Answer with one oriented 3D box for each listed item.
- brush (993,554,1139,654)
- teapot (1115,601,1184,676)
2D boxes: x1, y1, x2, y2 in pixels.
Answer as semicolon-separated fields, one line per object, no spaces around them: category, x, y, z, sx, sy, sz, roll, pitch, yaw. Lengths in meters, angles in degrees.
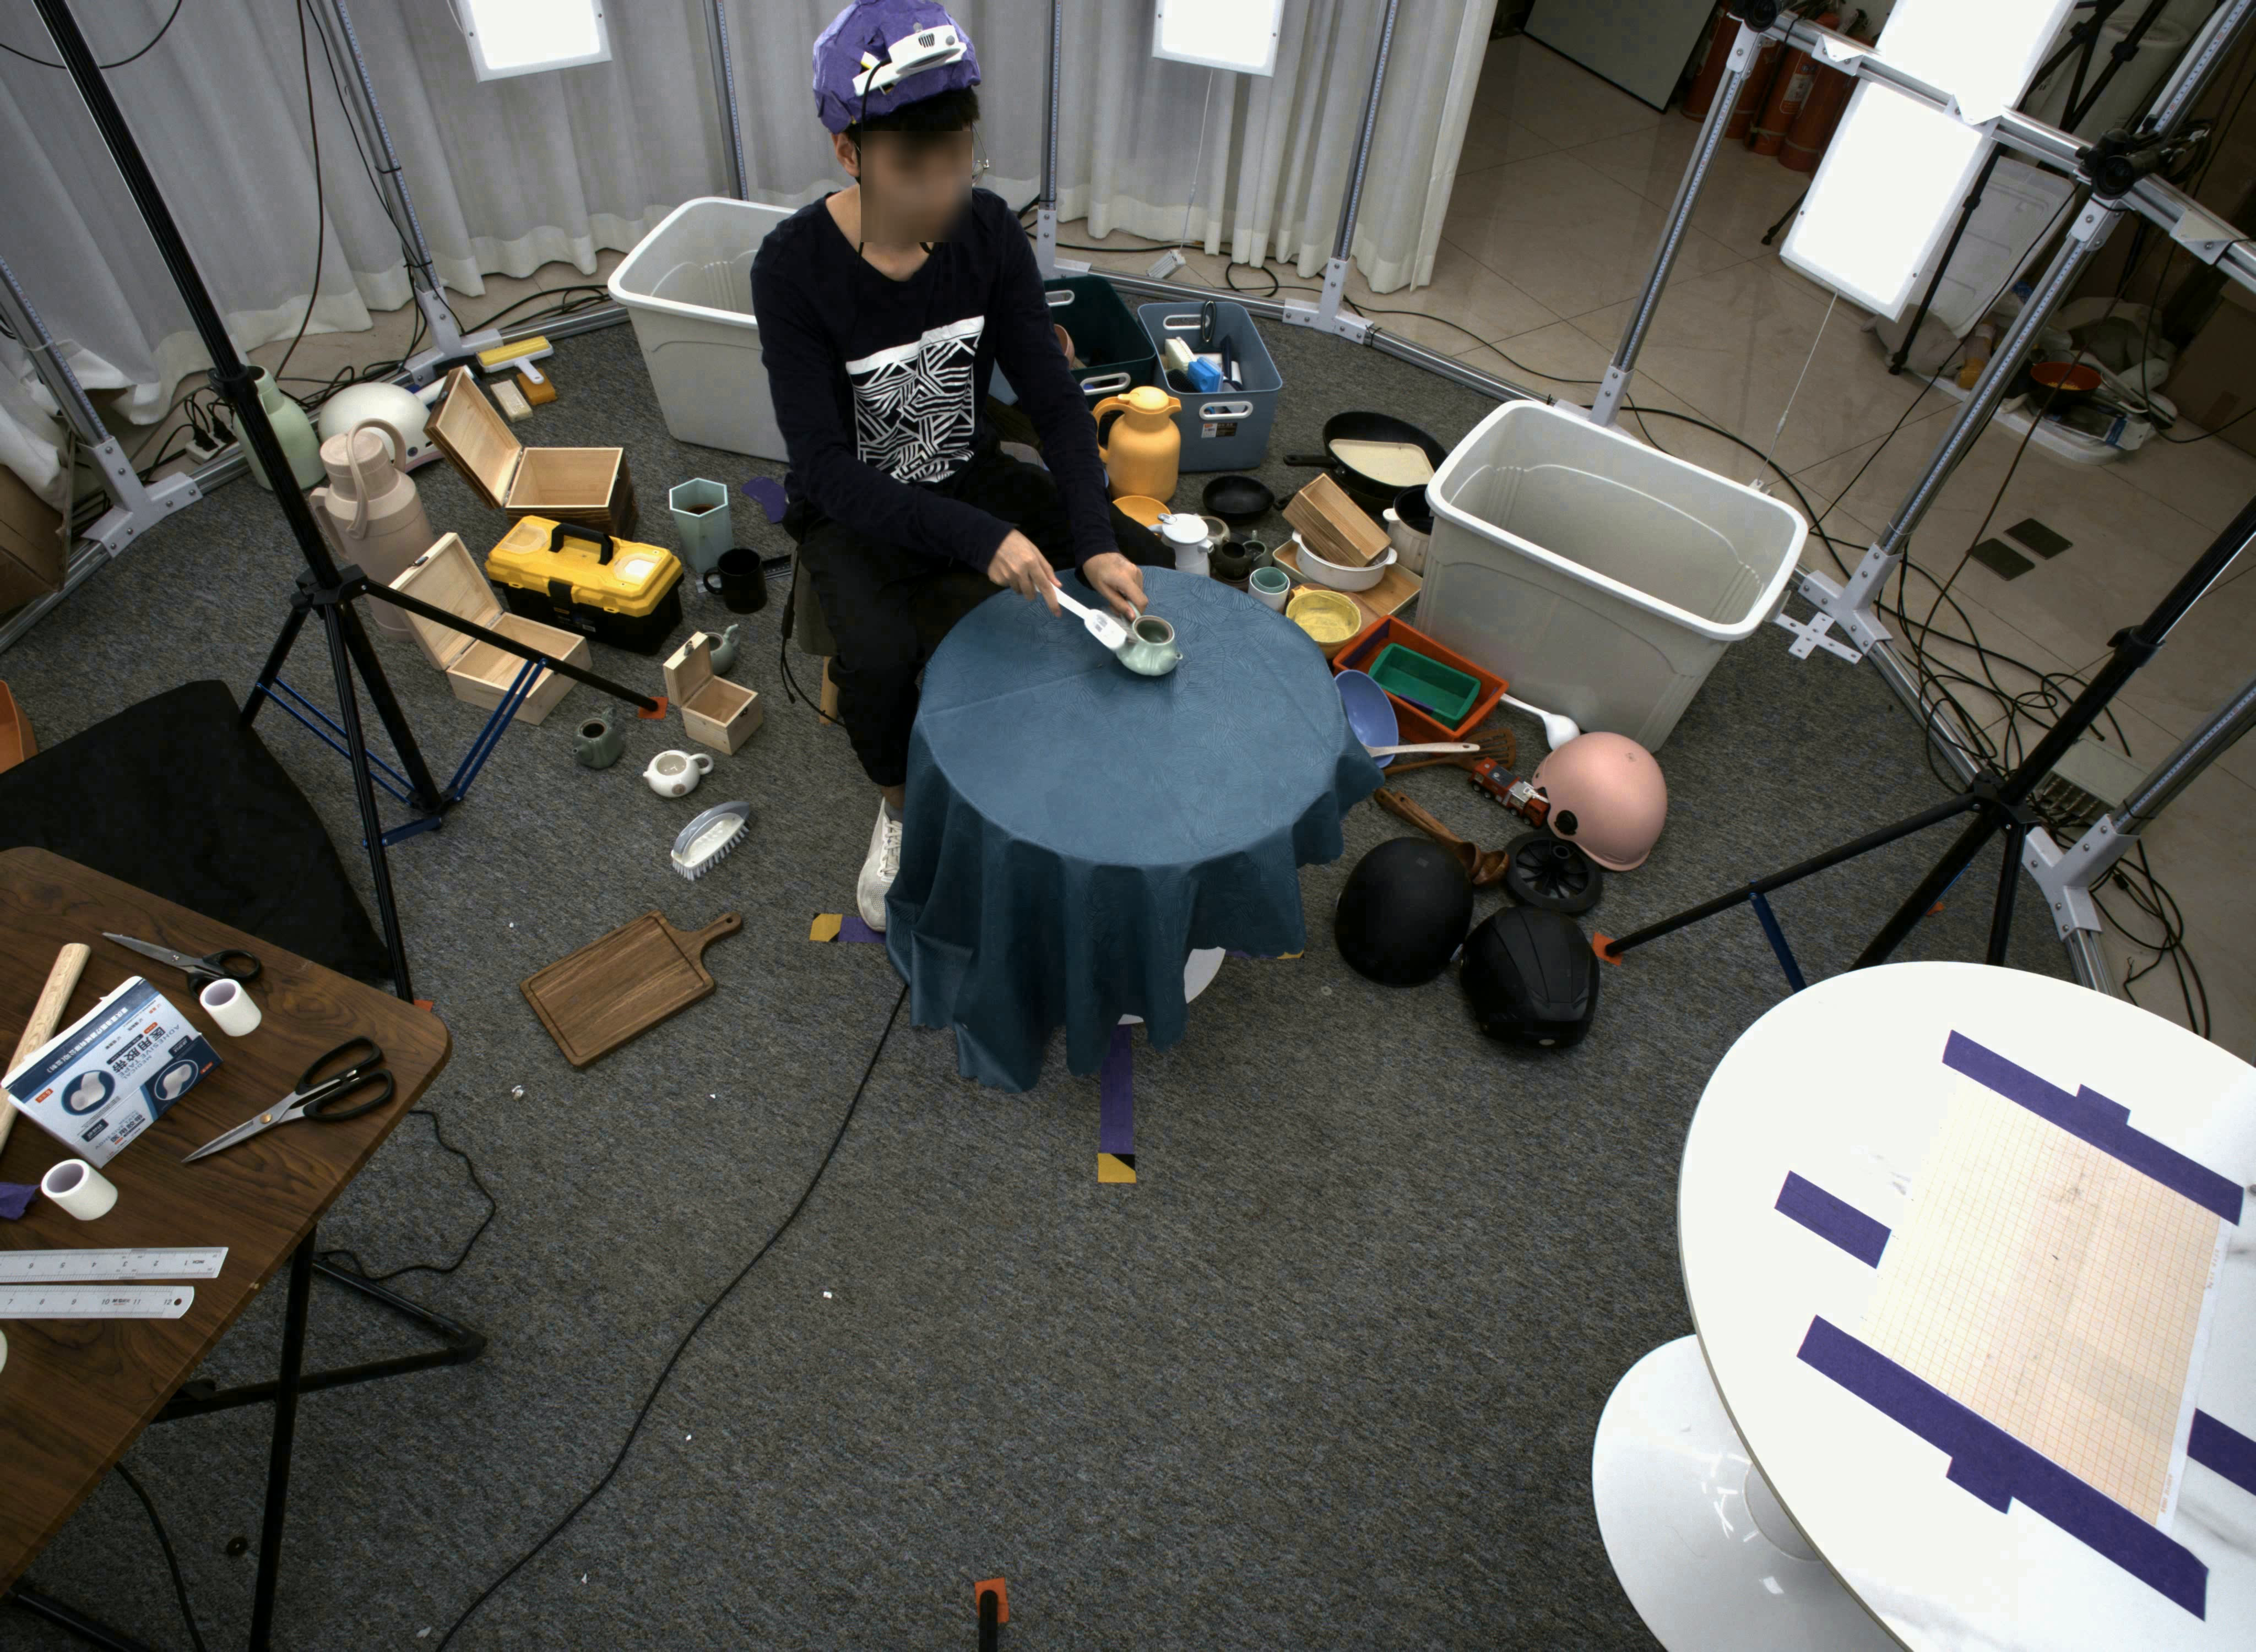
brush;-0.089;-0.321;1.846;0.246;0.034;0.050;35;23;16
teapot;0.028;-0.267;1.857;0.097;0.060;0.139;-26;62;-31
